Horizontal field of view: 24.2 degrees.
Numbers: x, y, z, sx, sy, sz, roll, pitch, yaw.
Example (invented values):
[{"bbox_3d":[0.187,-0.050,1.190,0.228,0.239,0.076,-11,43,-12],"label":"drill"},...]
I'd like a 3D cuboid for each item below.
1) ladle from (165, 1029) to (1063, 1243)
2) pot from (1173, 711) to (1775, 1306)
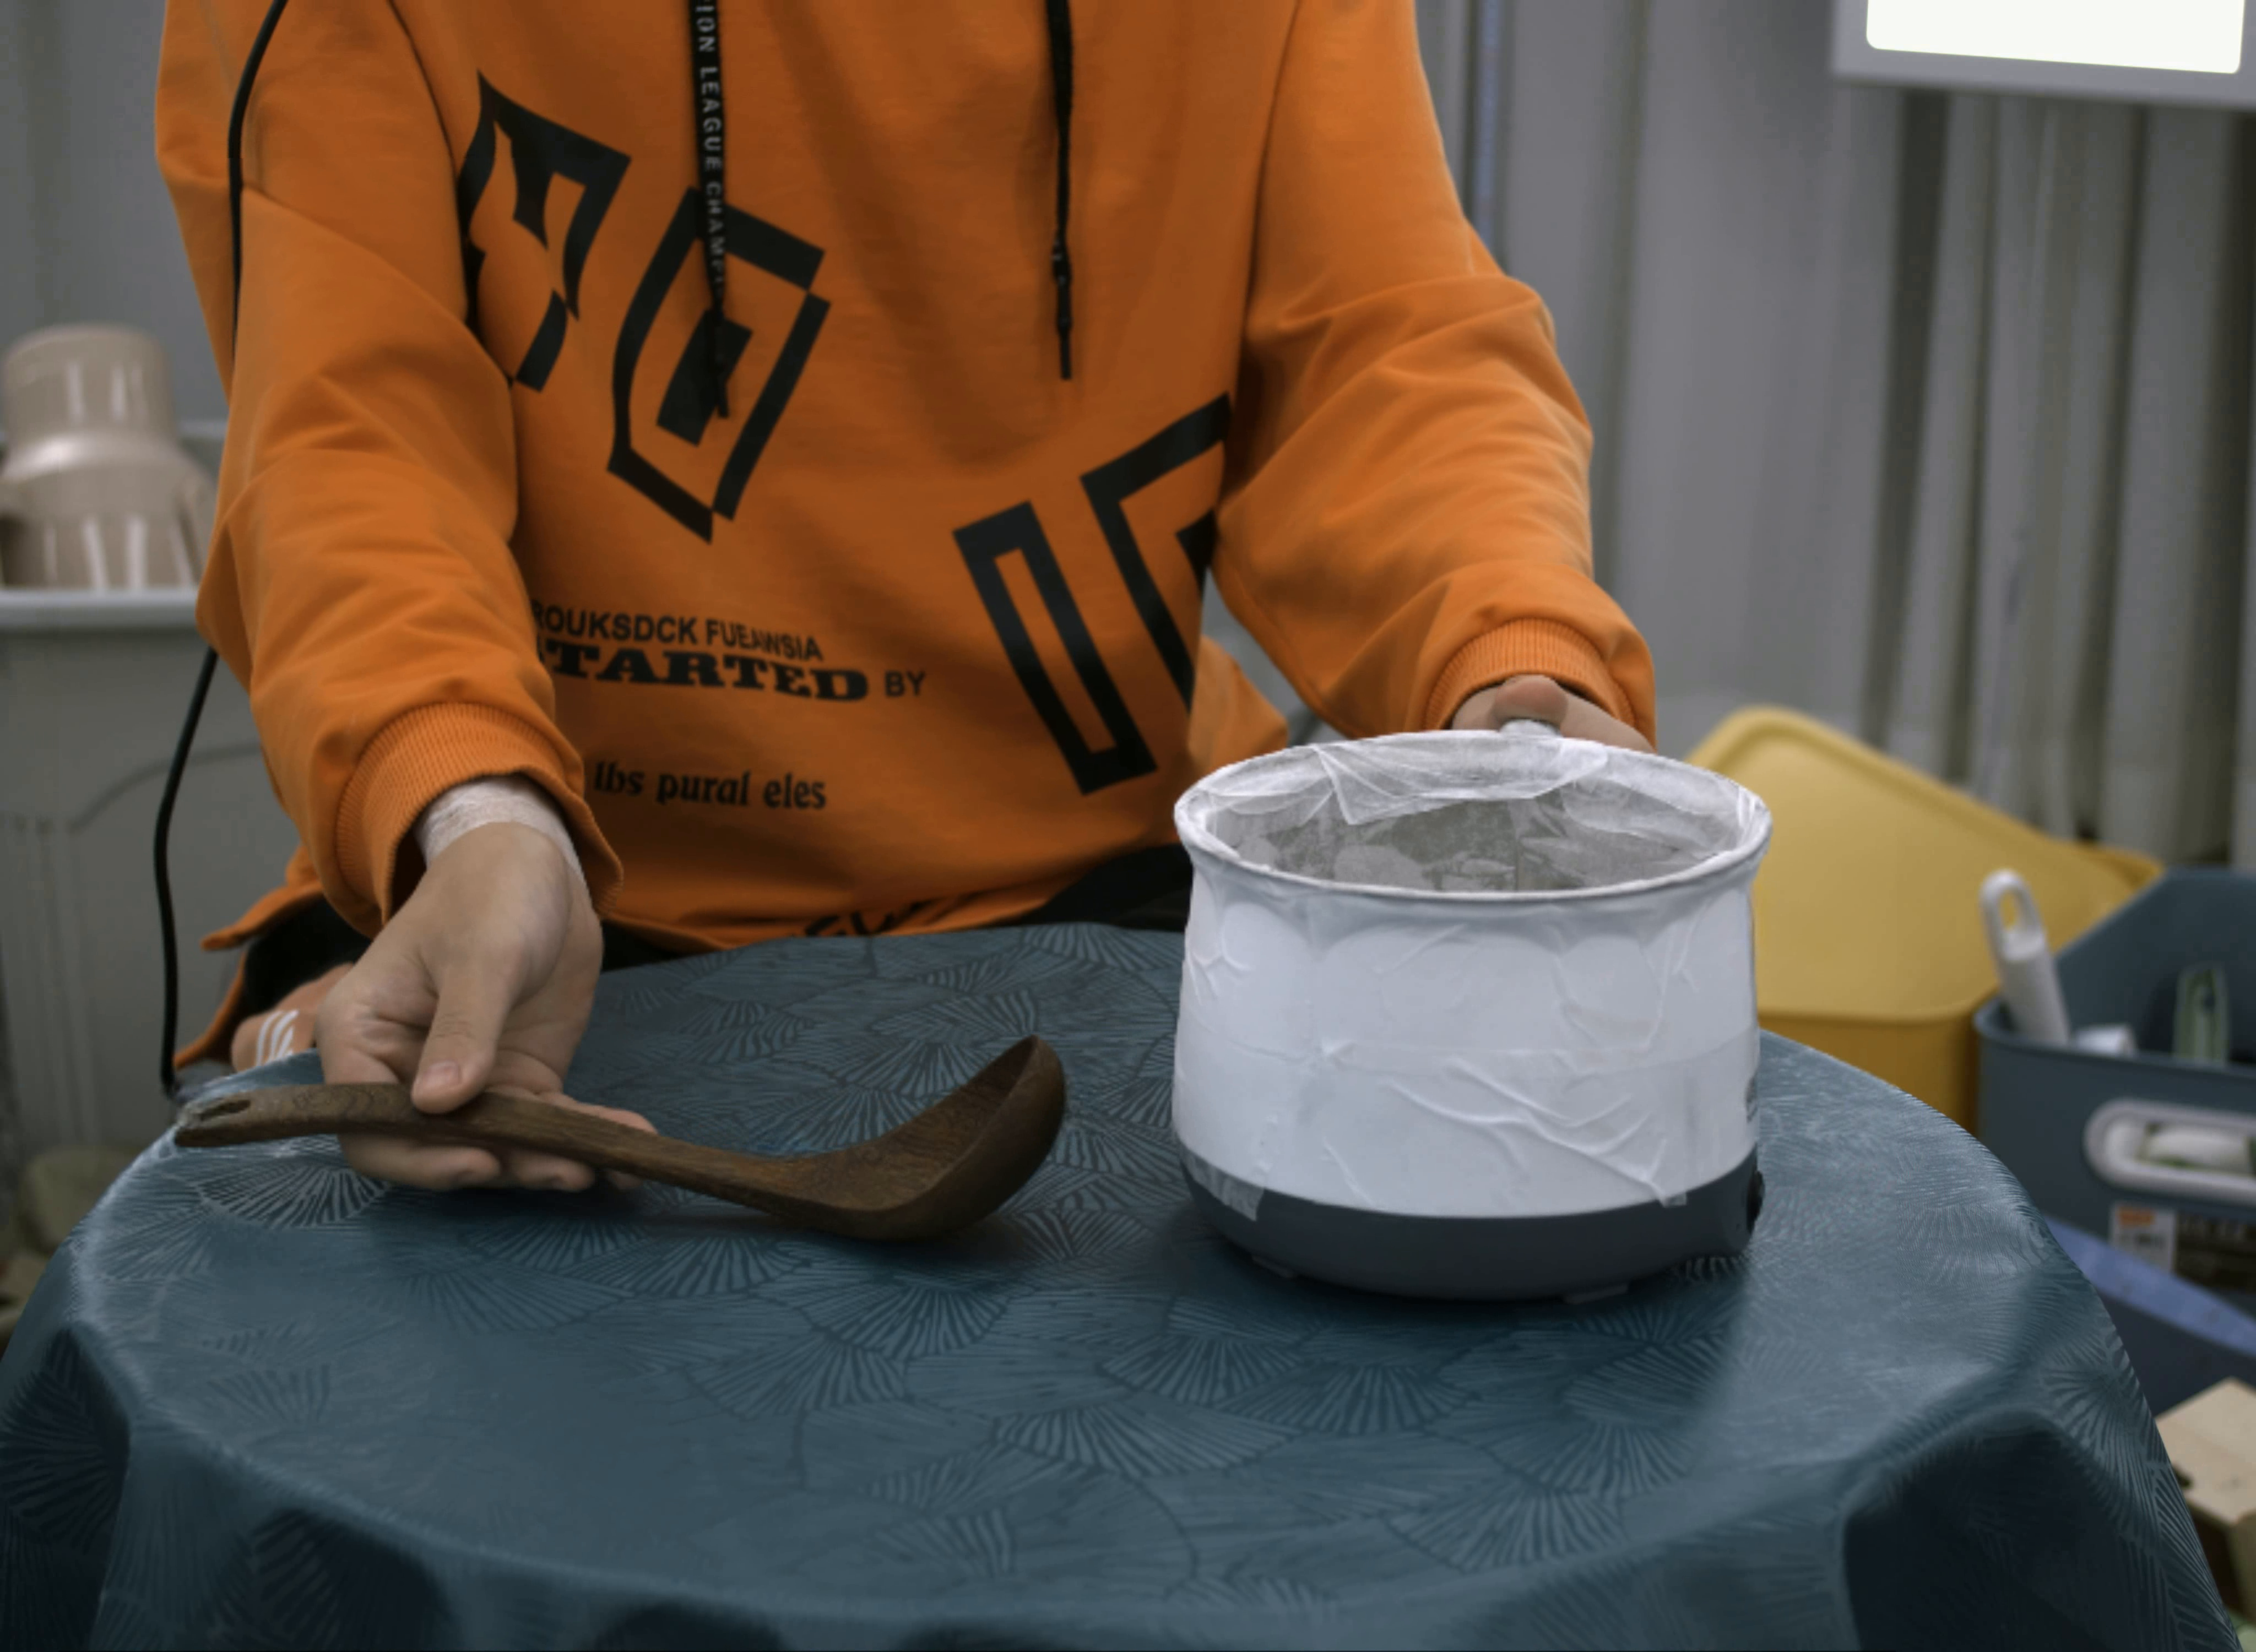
[{"bbox_3d":[-0.155,0.079,1.583,0.272,0.072,0.076,8,20,6],"label":"ladle"},{"bbox_3d":[0.107,0.049,1.597,0.177,0.138,0.233,4,17,11],"label":"pot"}]
